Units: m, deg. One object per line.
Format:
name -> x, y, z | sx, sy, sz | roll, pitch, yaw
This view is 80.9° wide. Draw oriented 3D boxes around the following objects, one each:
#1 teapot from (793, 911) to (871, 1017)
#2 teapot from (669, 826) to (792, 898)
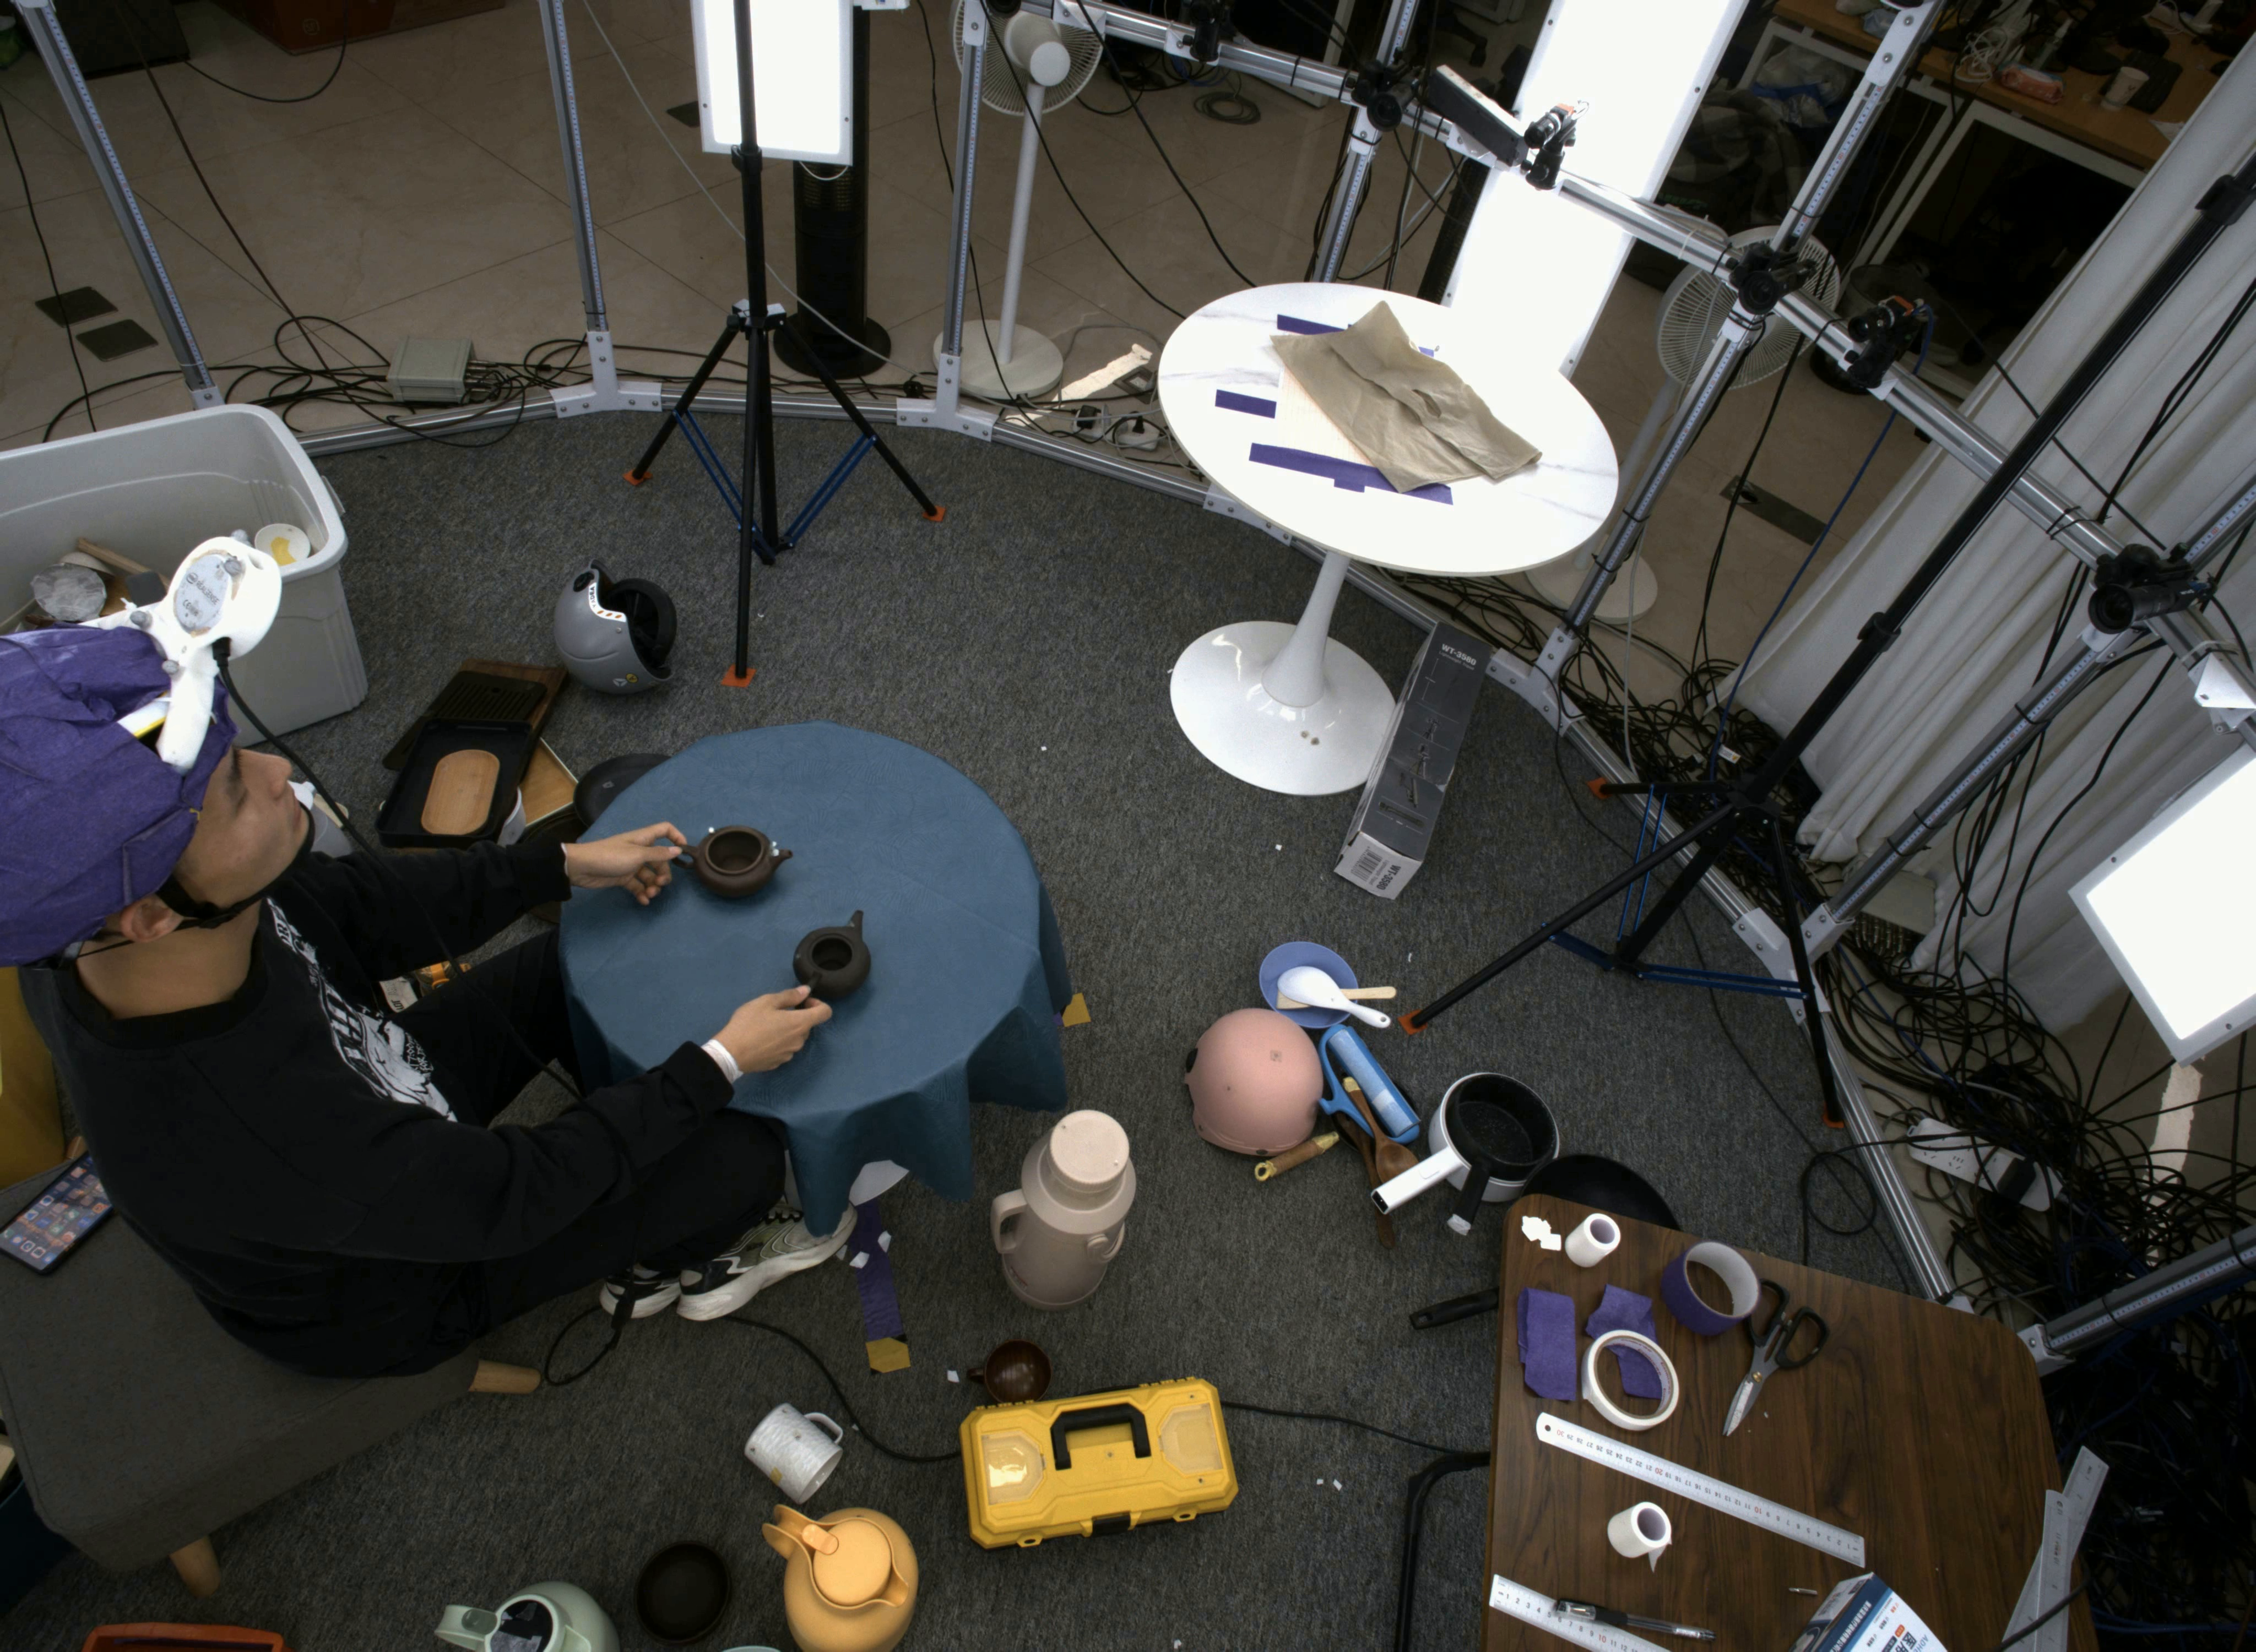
teapot -> -0.360, 0.167, 1.572 | 0.091, 0.066, 0.153 | 23, 51, 7
teapot -> -0.502, 0.042, 1.634 | 0.154, 0.055, 0.100 | 0, 52, -15
